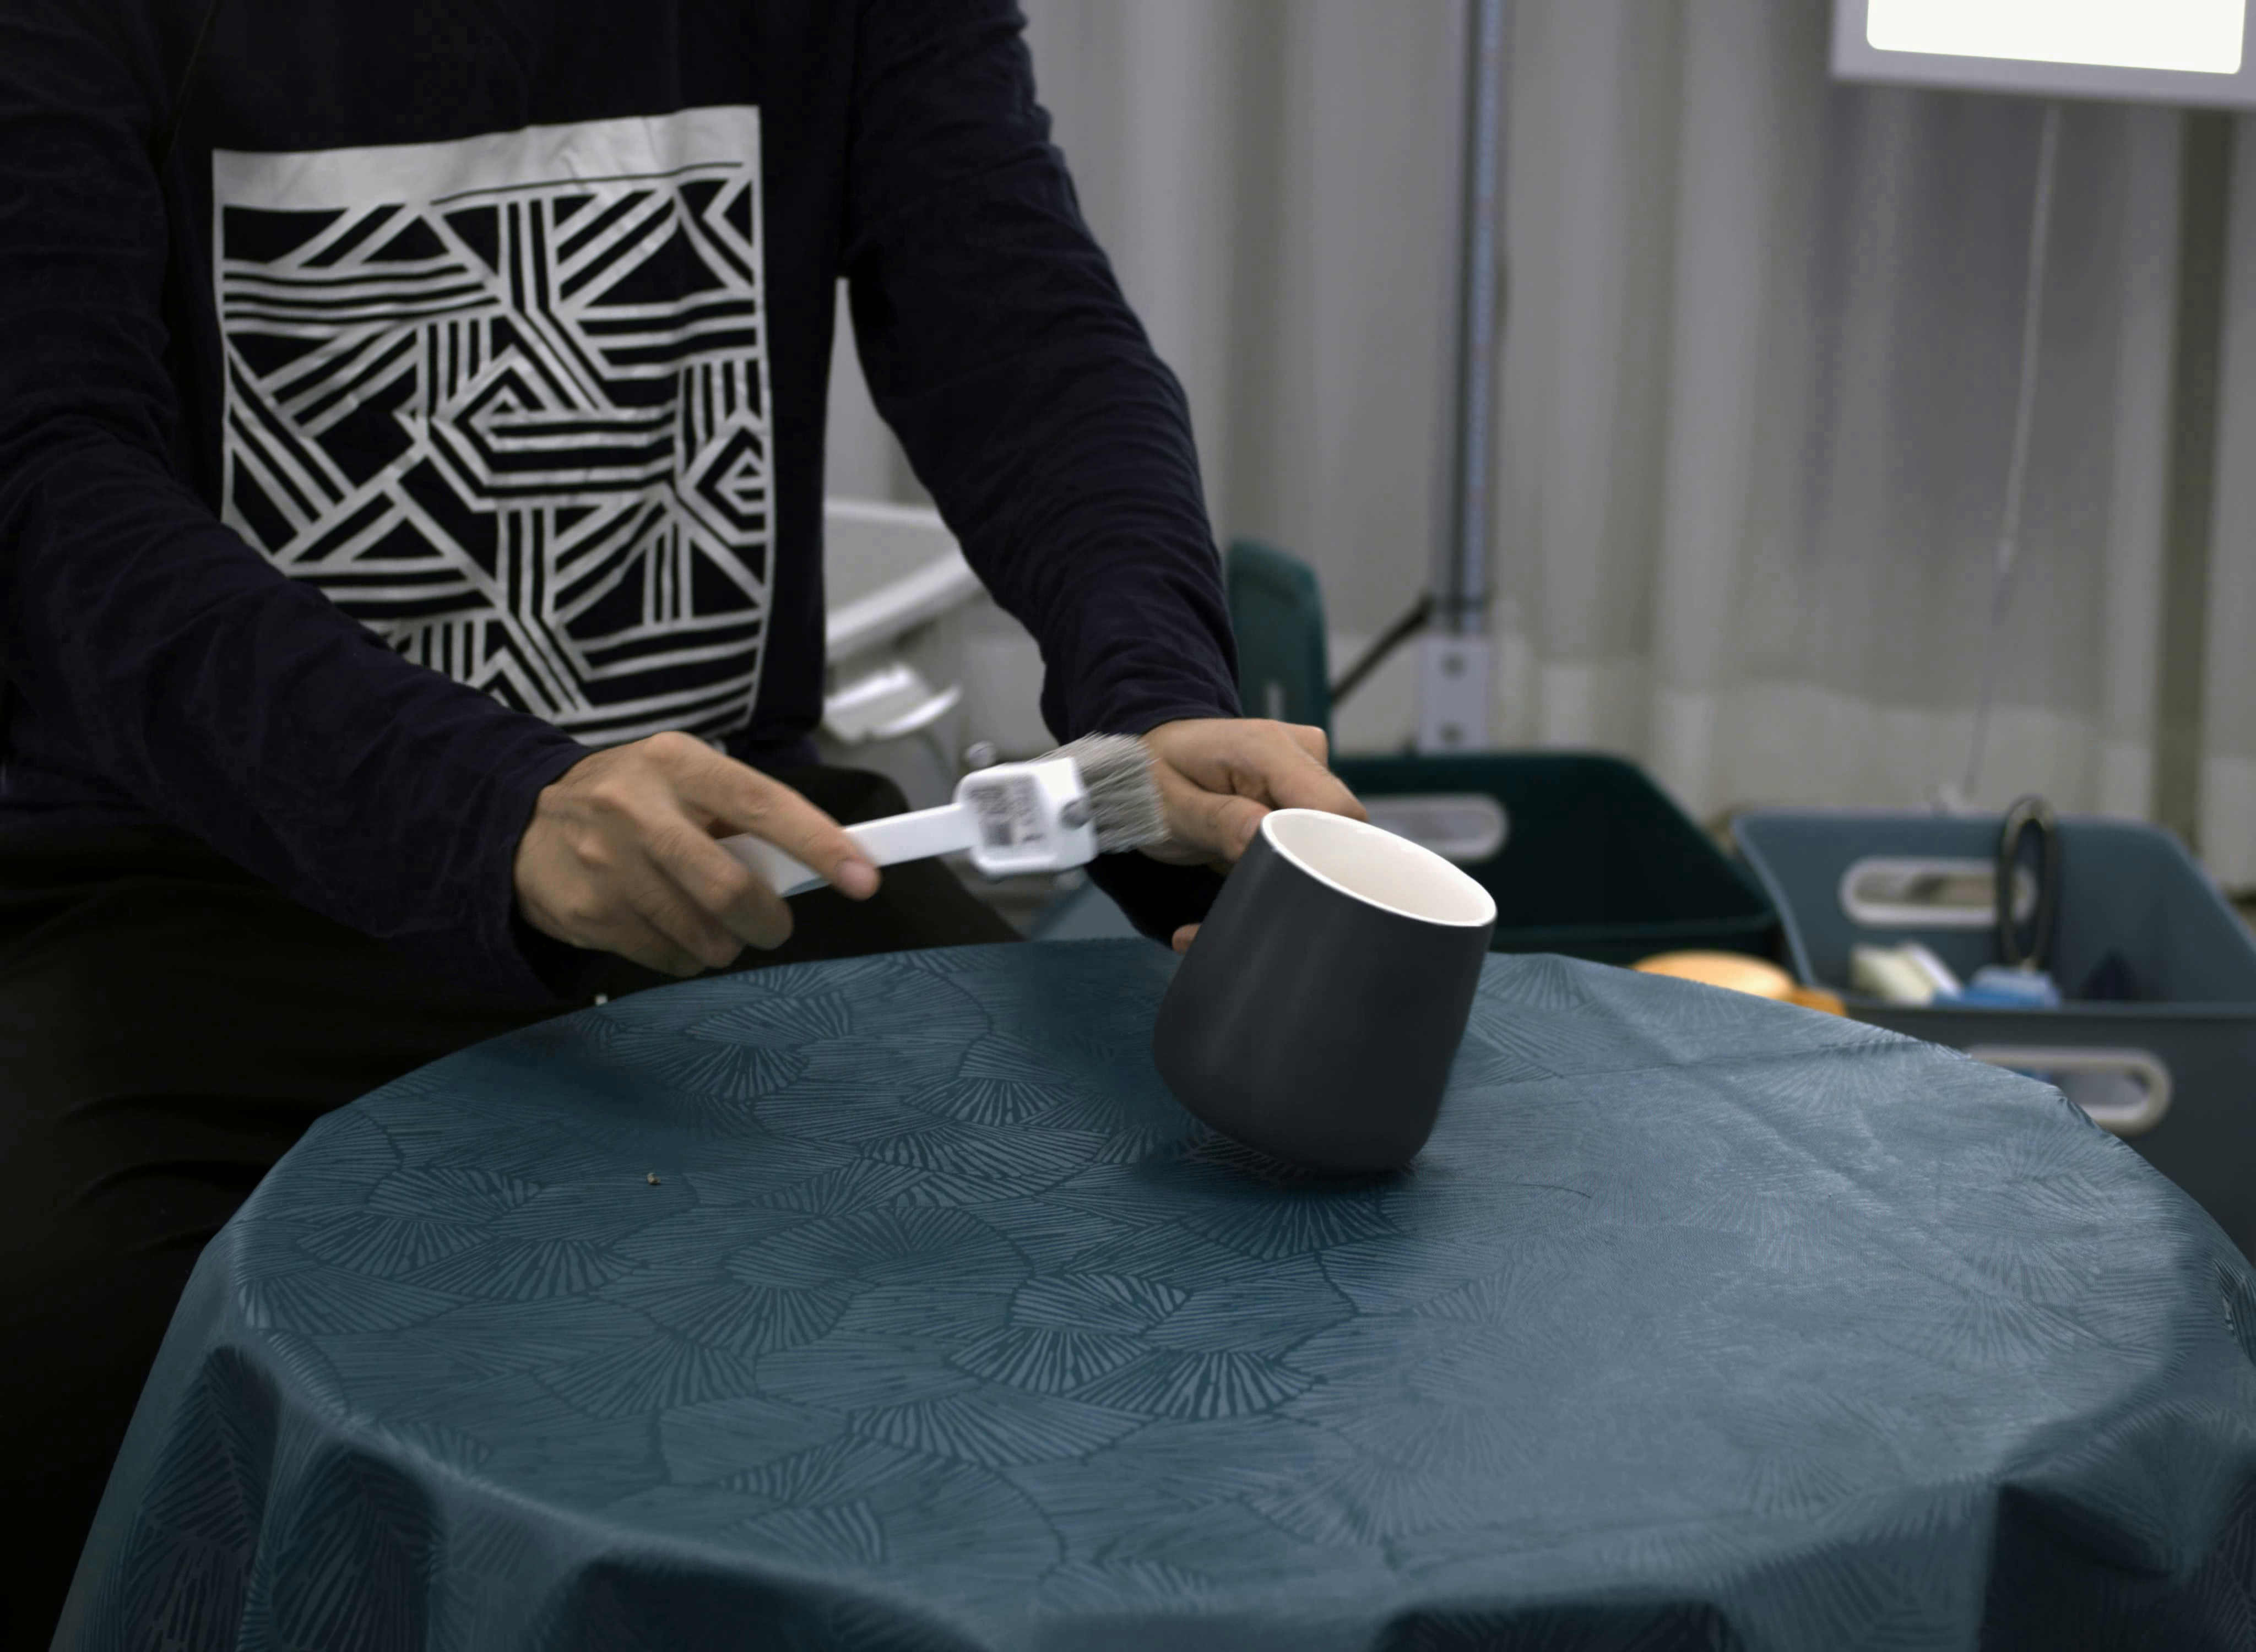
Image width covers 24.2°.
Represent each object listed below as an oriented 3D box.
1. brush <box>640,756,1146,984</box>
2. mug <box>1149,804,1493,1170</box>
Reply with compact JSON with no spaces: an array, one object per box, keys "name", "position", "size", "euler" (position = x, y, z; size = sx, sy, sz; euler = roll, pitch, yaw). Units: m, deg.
[{"name":"brush","position":[-0.075,0.016,1.652],"size":[0.050,0.034,0.242],"euler":[-28,8,-36]},{"name":"mug","position":[0.058,0.045,1.654],"size":[0.094,0.090,0.122],"euler":[14,20,-23]}]
